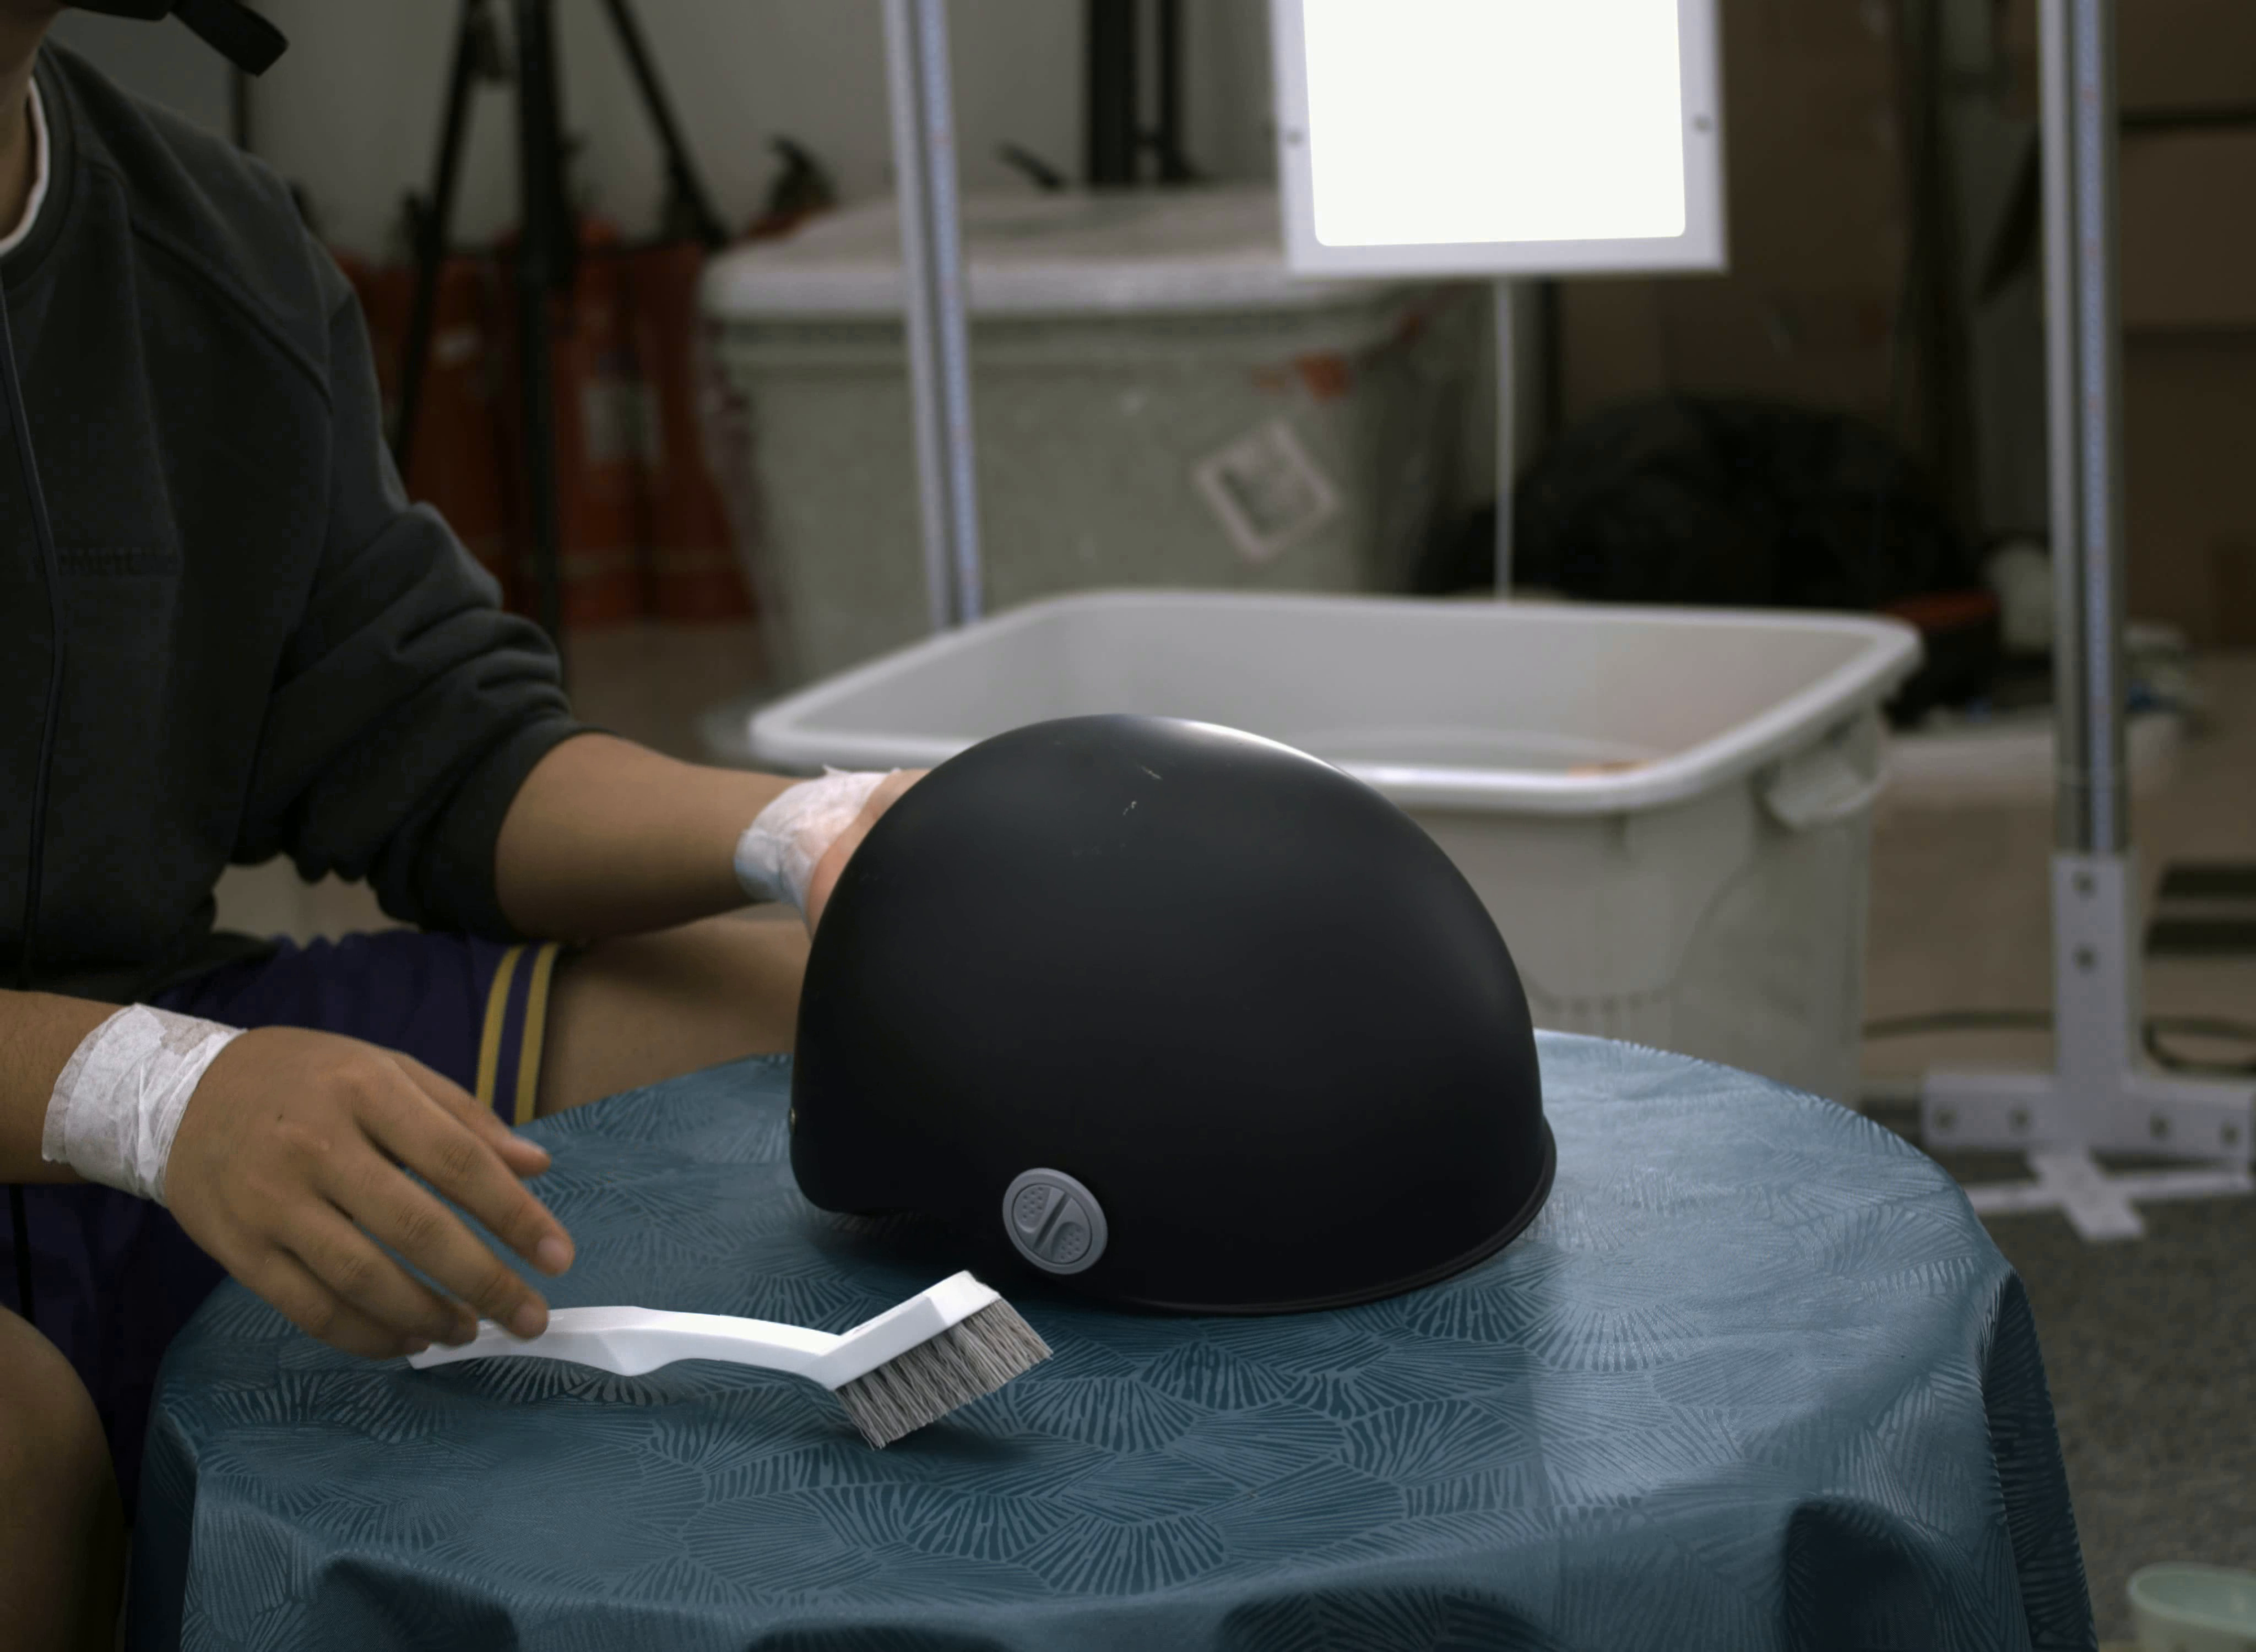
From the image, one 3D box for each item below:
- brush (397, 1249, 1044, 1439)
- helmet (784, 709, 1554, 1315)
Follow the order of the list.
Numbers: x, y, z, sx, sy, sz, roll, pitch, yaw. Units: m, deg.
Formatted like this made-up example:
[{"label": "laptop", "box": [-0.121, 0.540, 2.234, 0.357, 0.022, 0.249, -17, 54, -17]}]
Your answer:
[{"label": "brush", "box": [-0.130, 0.171, 1.716, 0.249, 0.050, 0.033, -11, 11, 37]}, {"label": "helmet", "box": [0.008, 0.049, 1.844, 0.279, 0.167, 0.224, 13, 31, 41]}]
